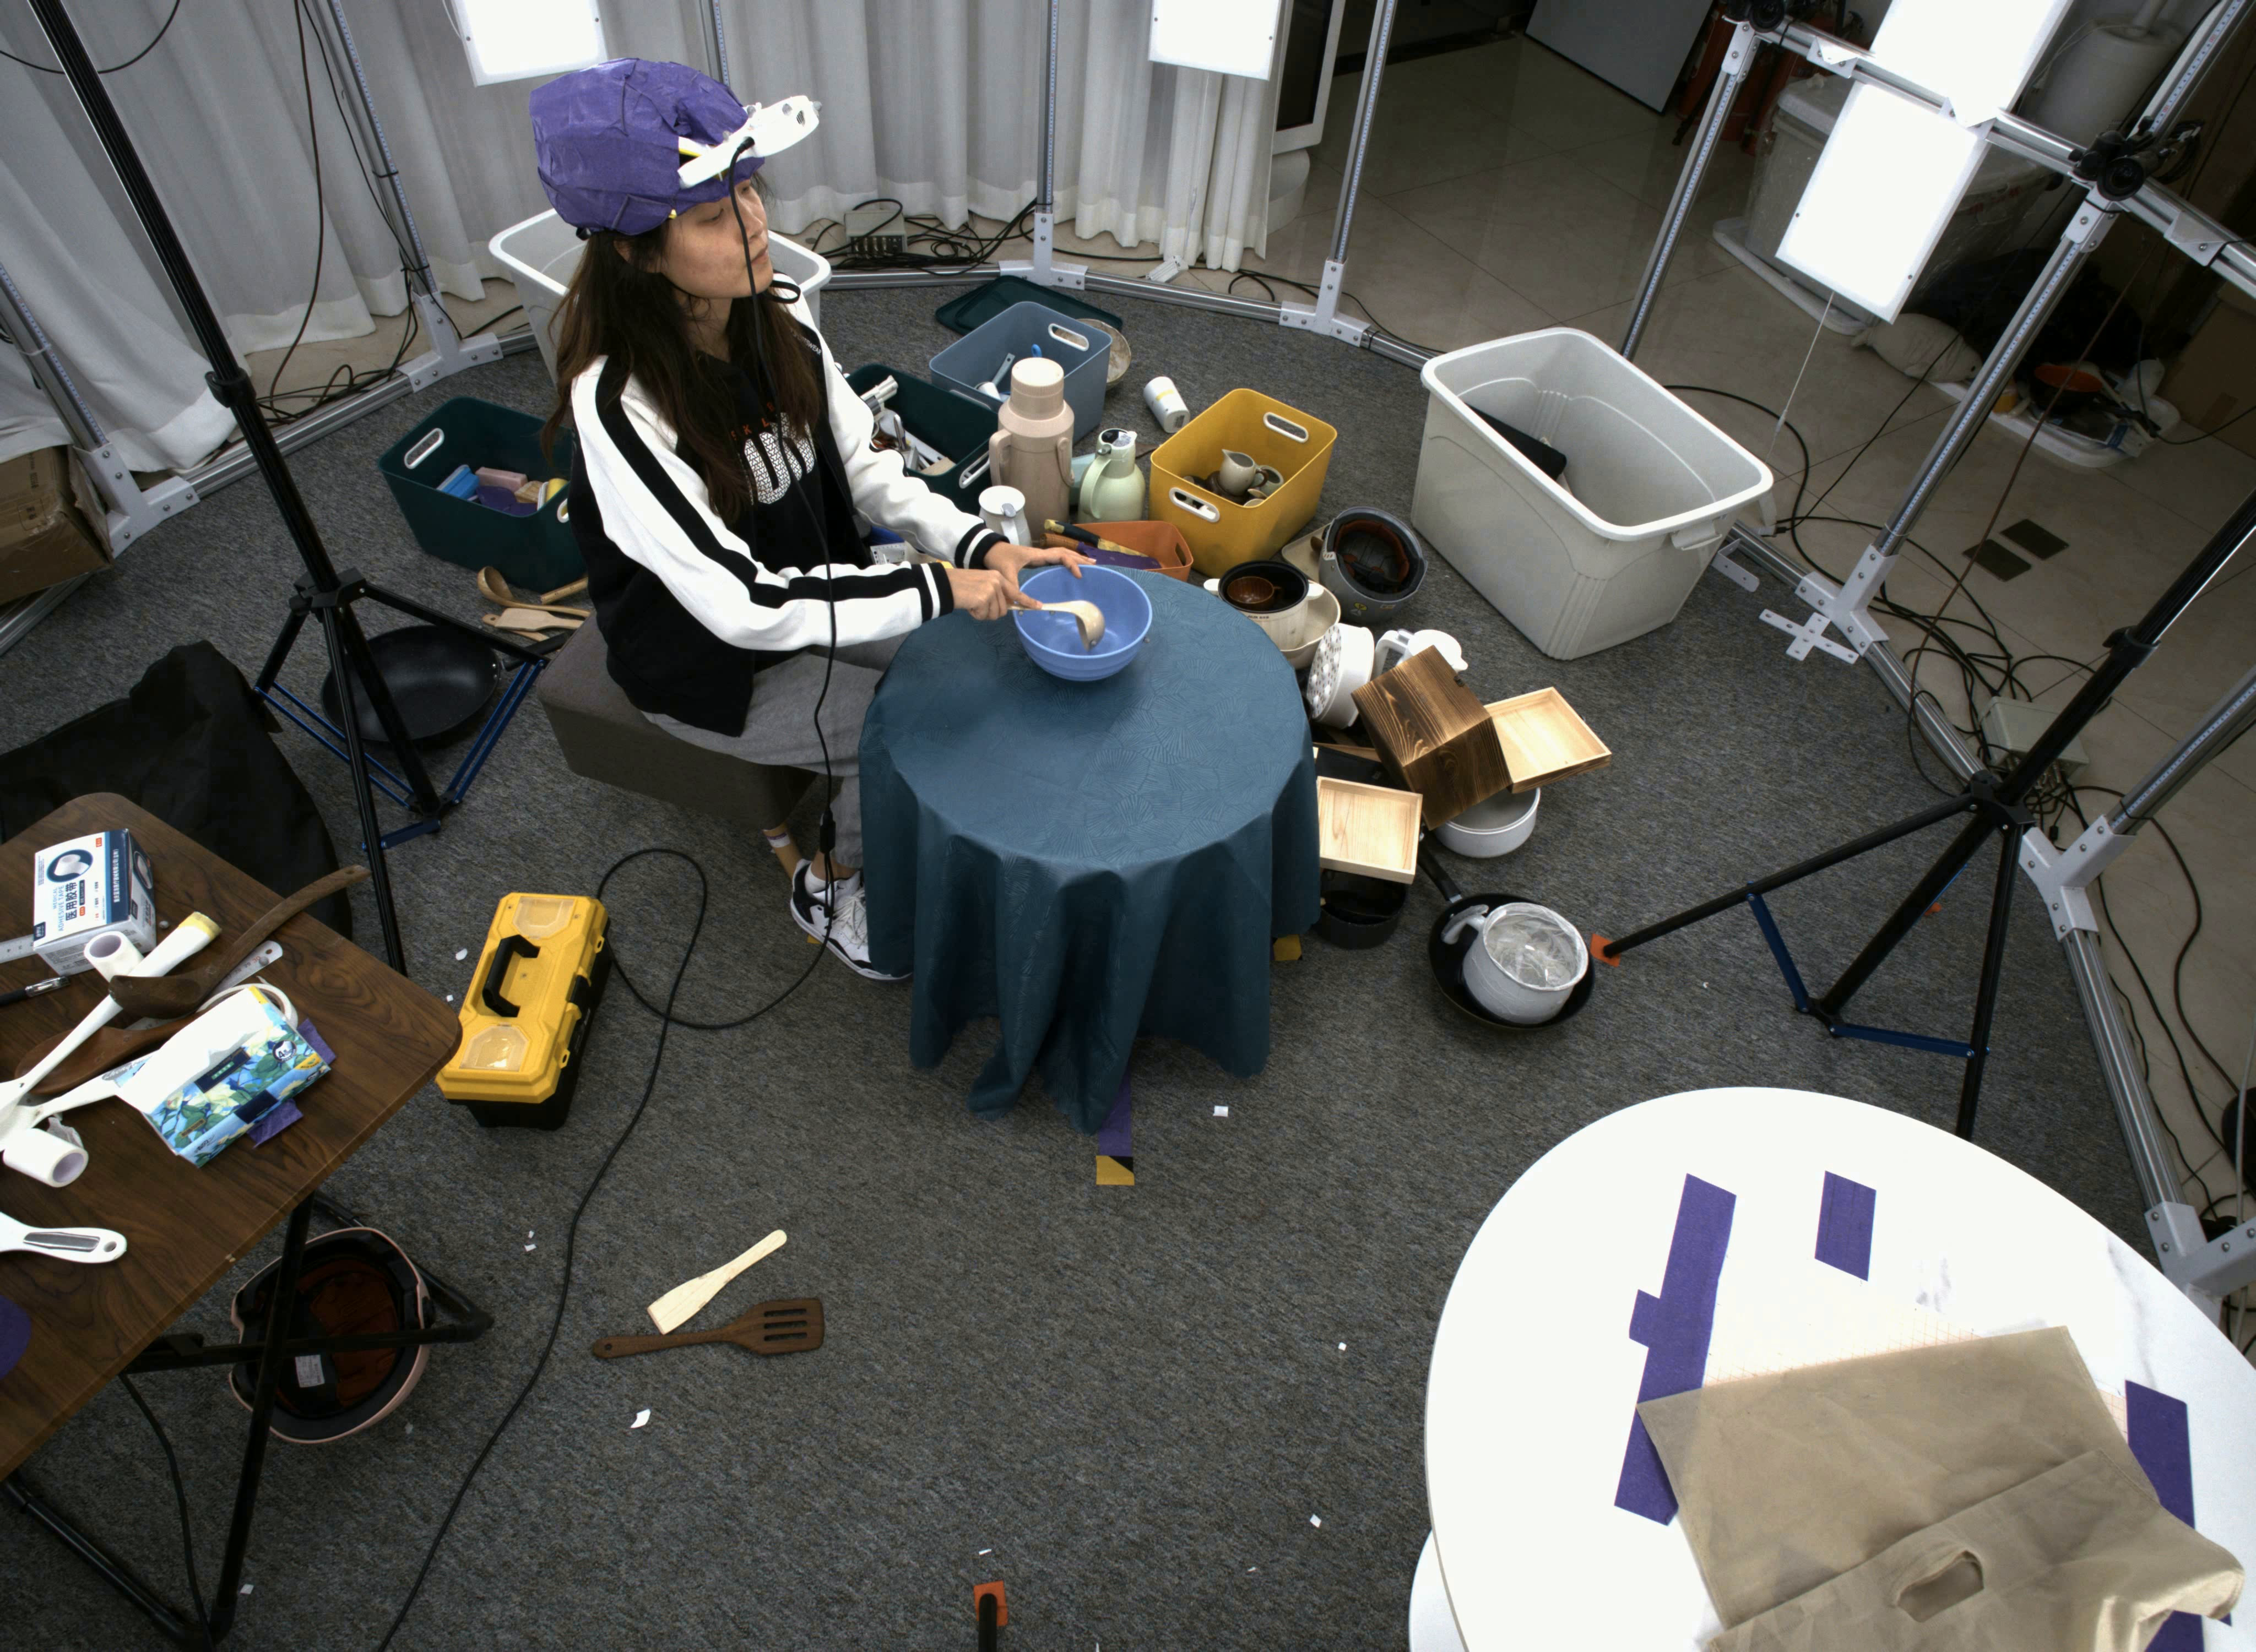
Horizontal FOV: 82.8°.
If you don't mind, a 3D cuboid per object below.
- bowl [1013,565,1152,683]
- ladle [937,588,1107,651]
[{"bbox_3d":[-0.066,-0.274,1.846,0.196,0.093,0.201,1,50,-2],"label":"bowl"},{"bbox_3d":[-0.151,-0.288,1.795,0.253,0.071,0.074,1,50,-25],"label":"ladle"}]
